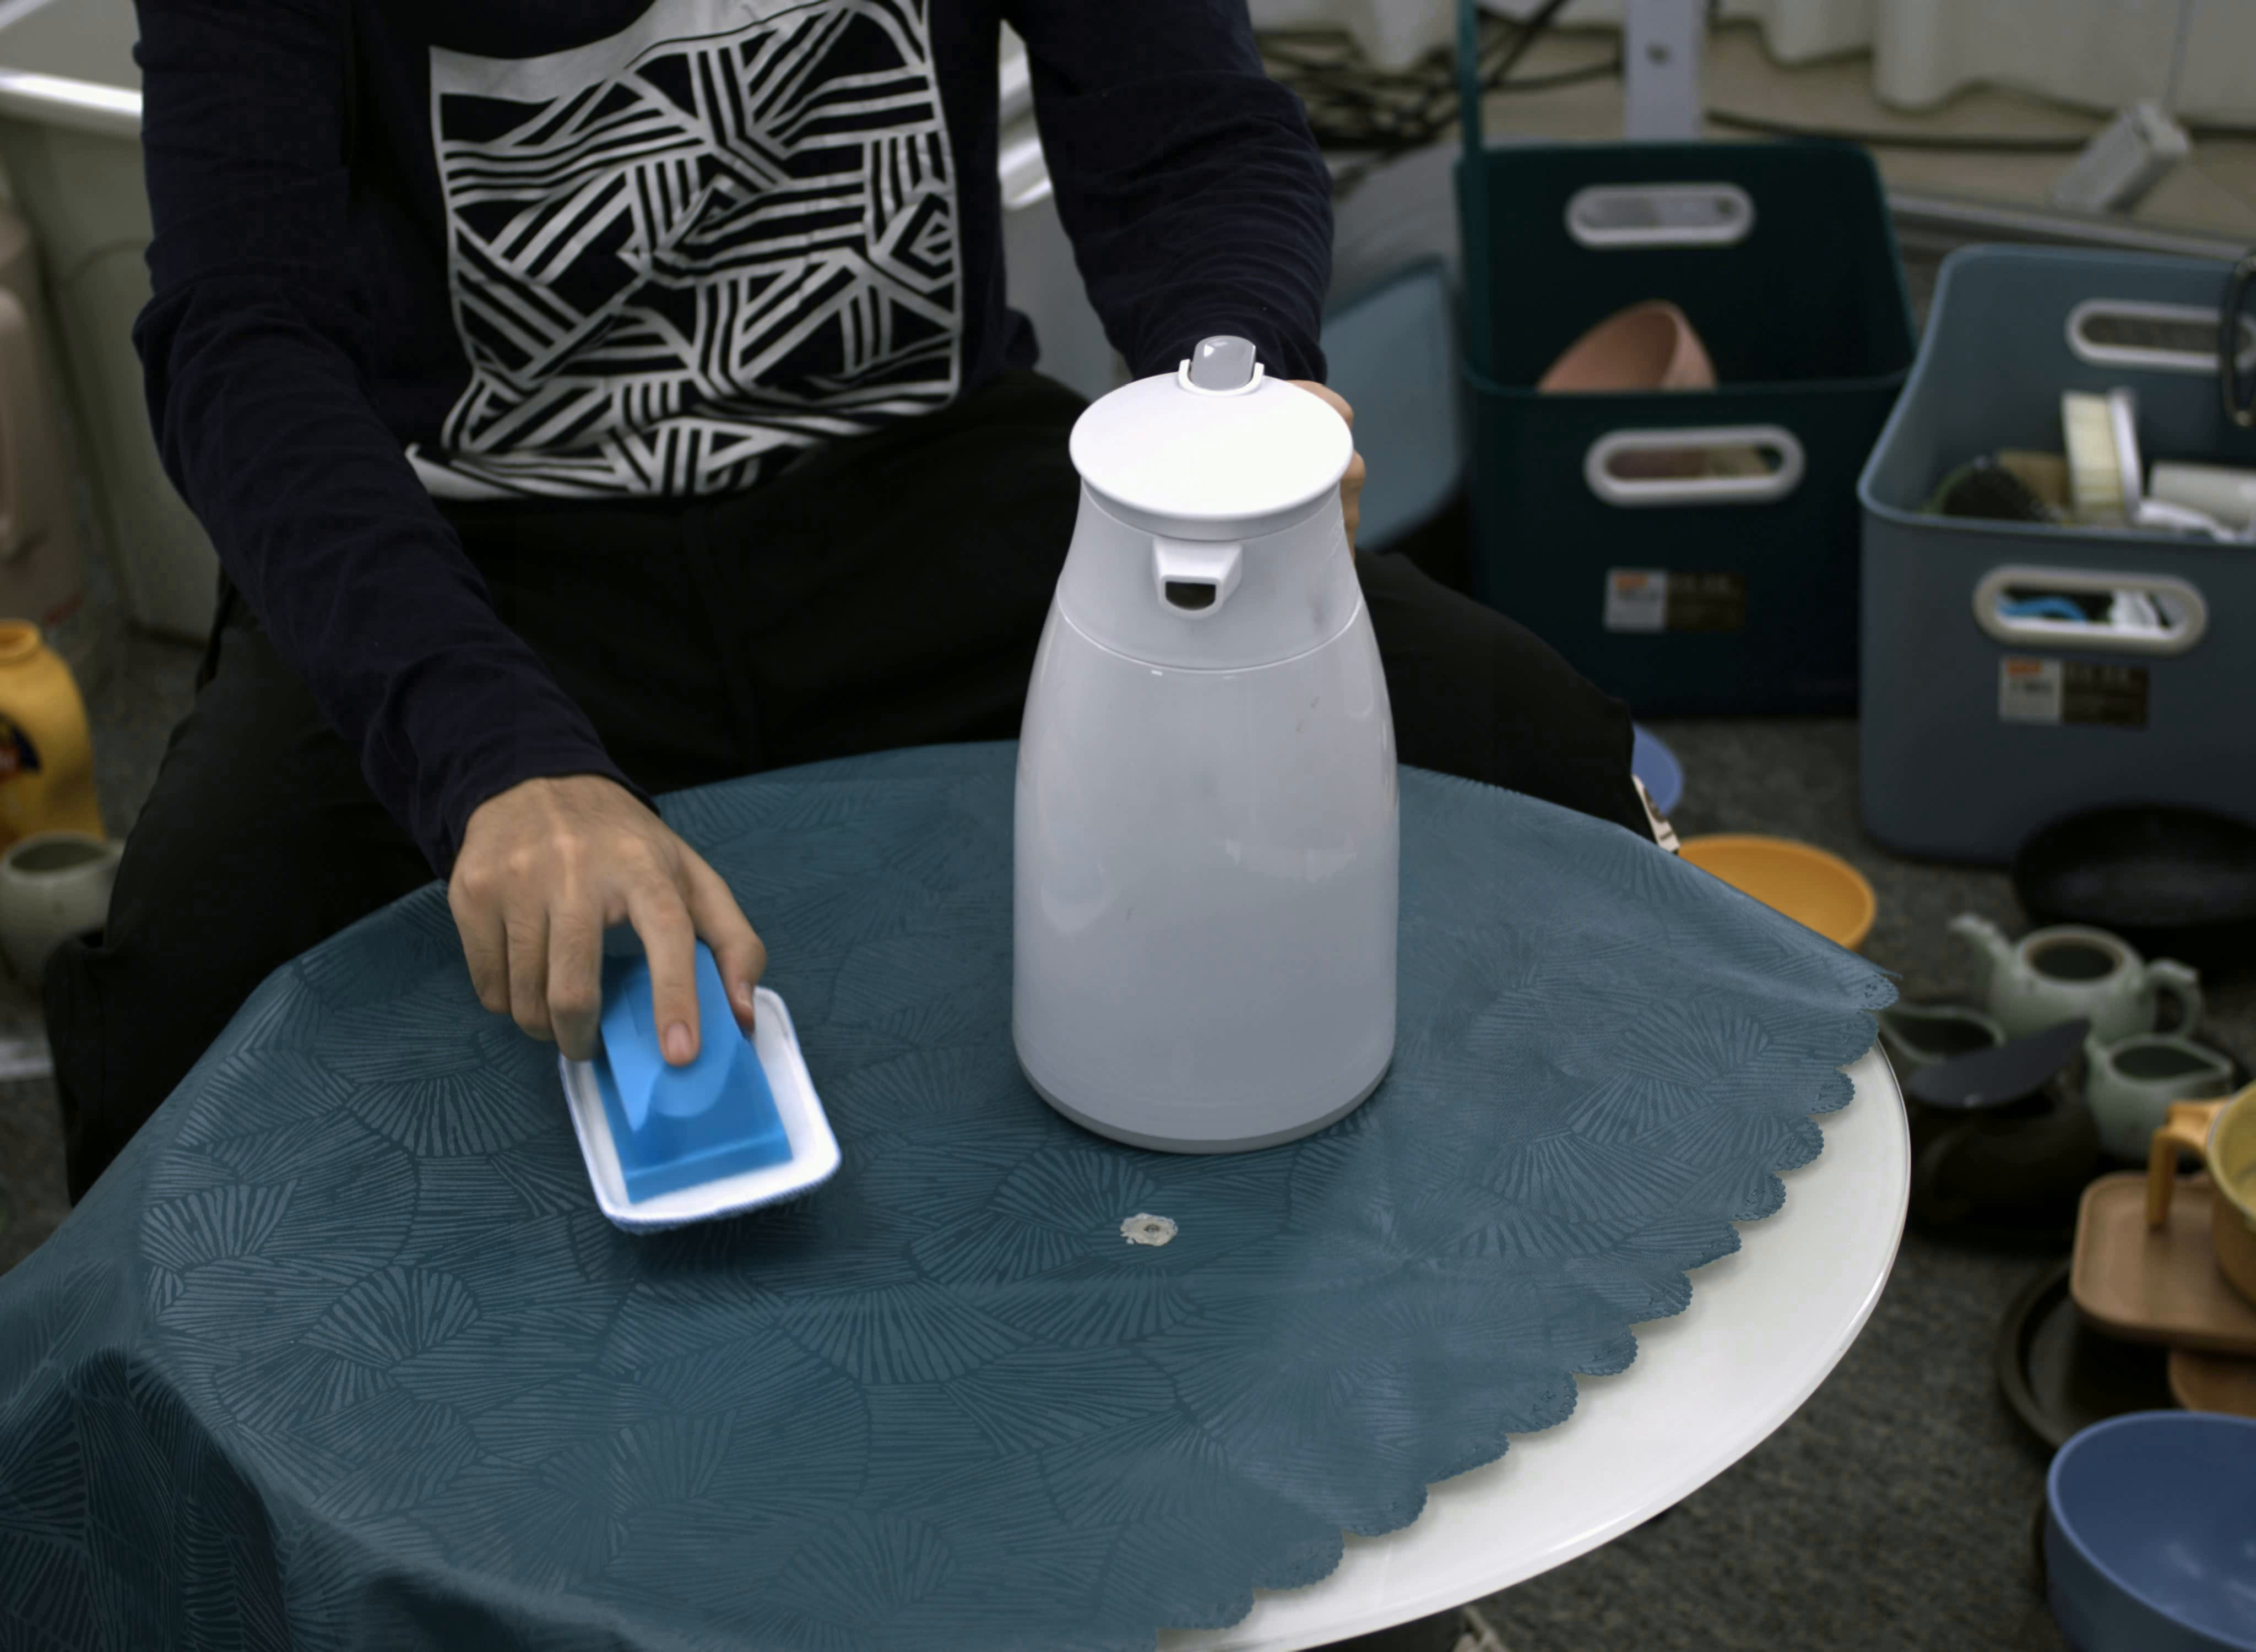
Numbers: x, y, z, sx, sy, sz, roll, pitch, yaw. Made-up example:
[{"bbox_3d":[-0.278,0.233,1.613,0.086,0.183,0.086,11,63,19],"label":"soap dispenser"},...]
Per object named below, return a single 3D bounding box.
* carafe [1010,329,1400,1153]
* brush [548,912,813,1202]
[{"bbox_3d":[0.027,-0.040,1.881,0.132,0.245,0.171,2,32,3],"label":"carafe"},{"bbox_3d":[-0.151,0.073,1.869,0.083,0.055,0.145,-11,26,-5],"label":"brush"}]
